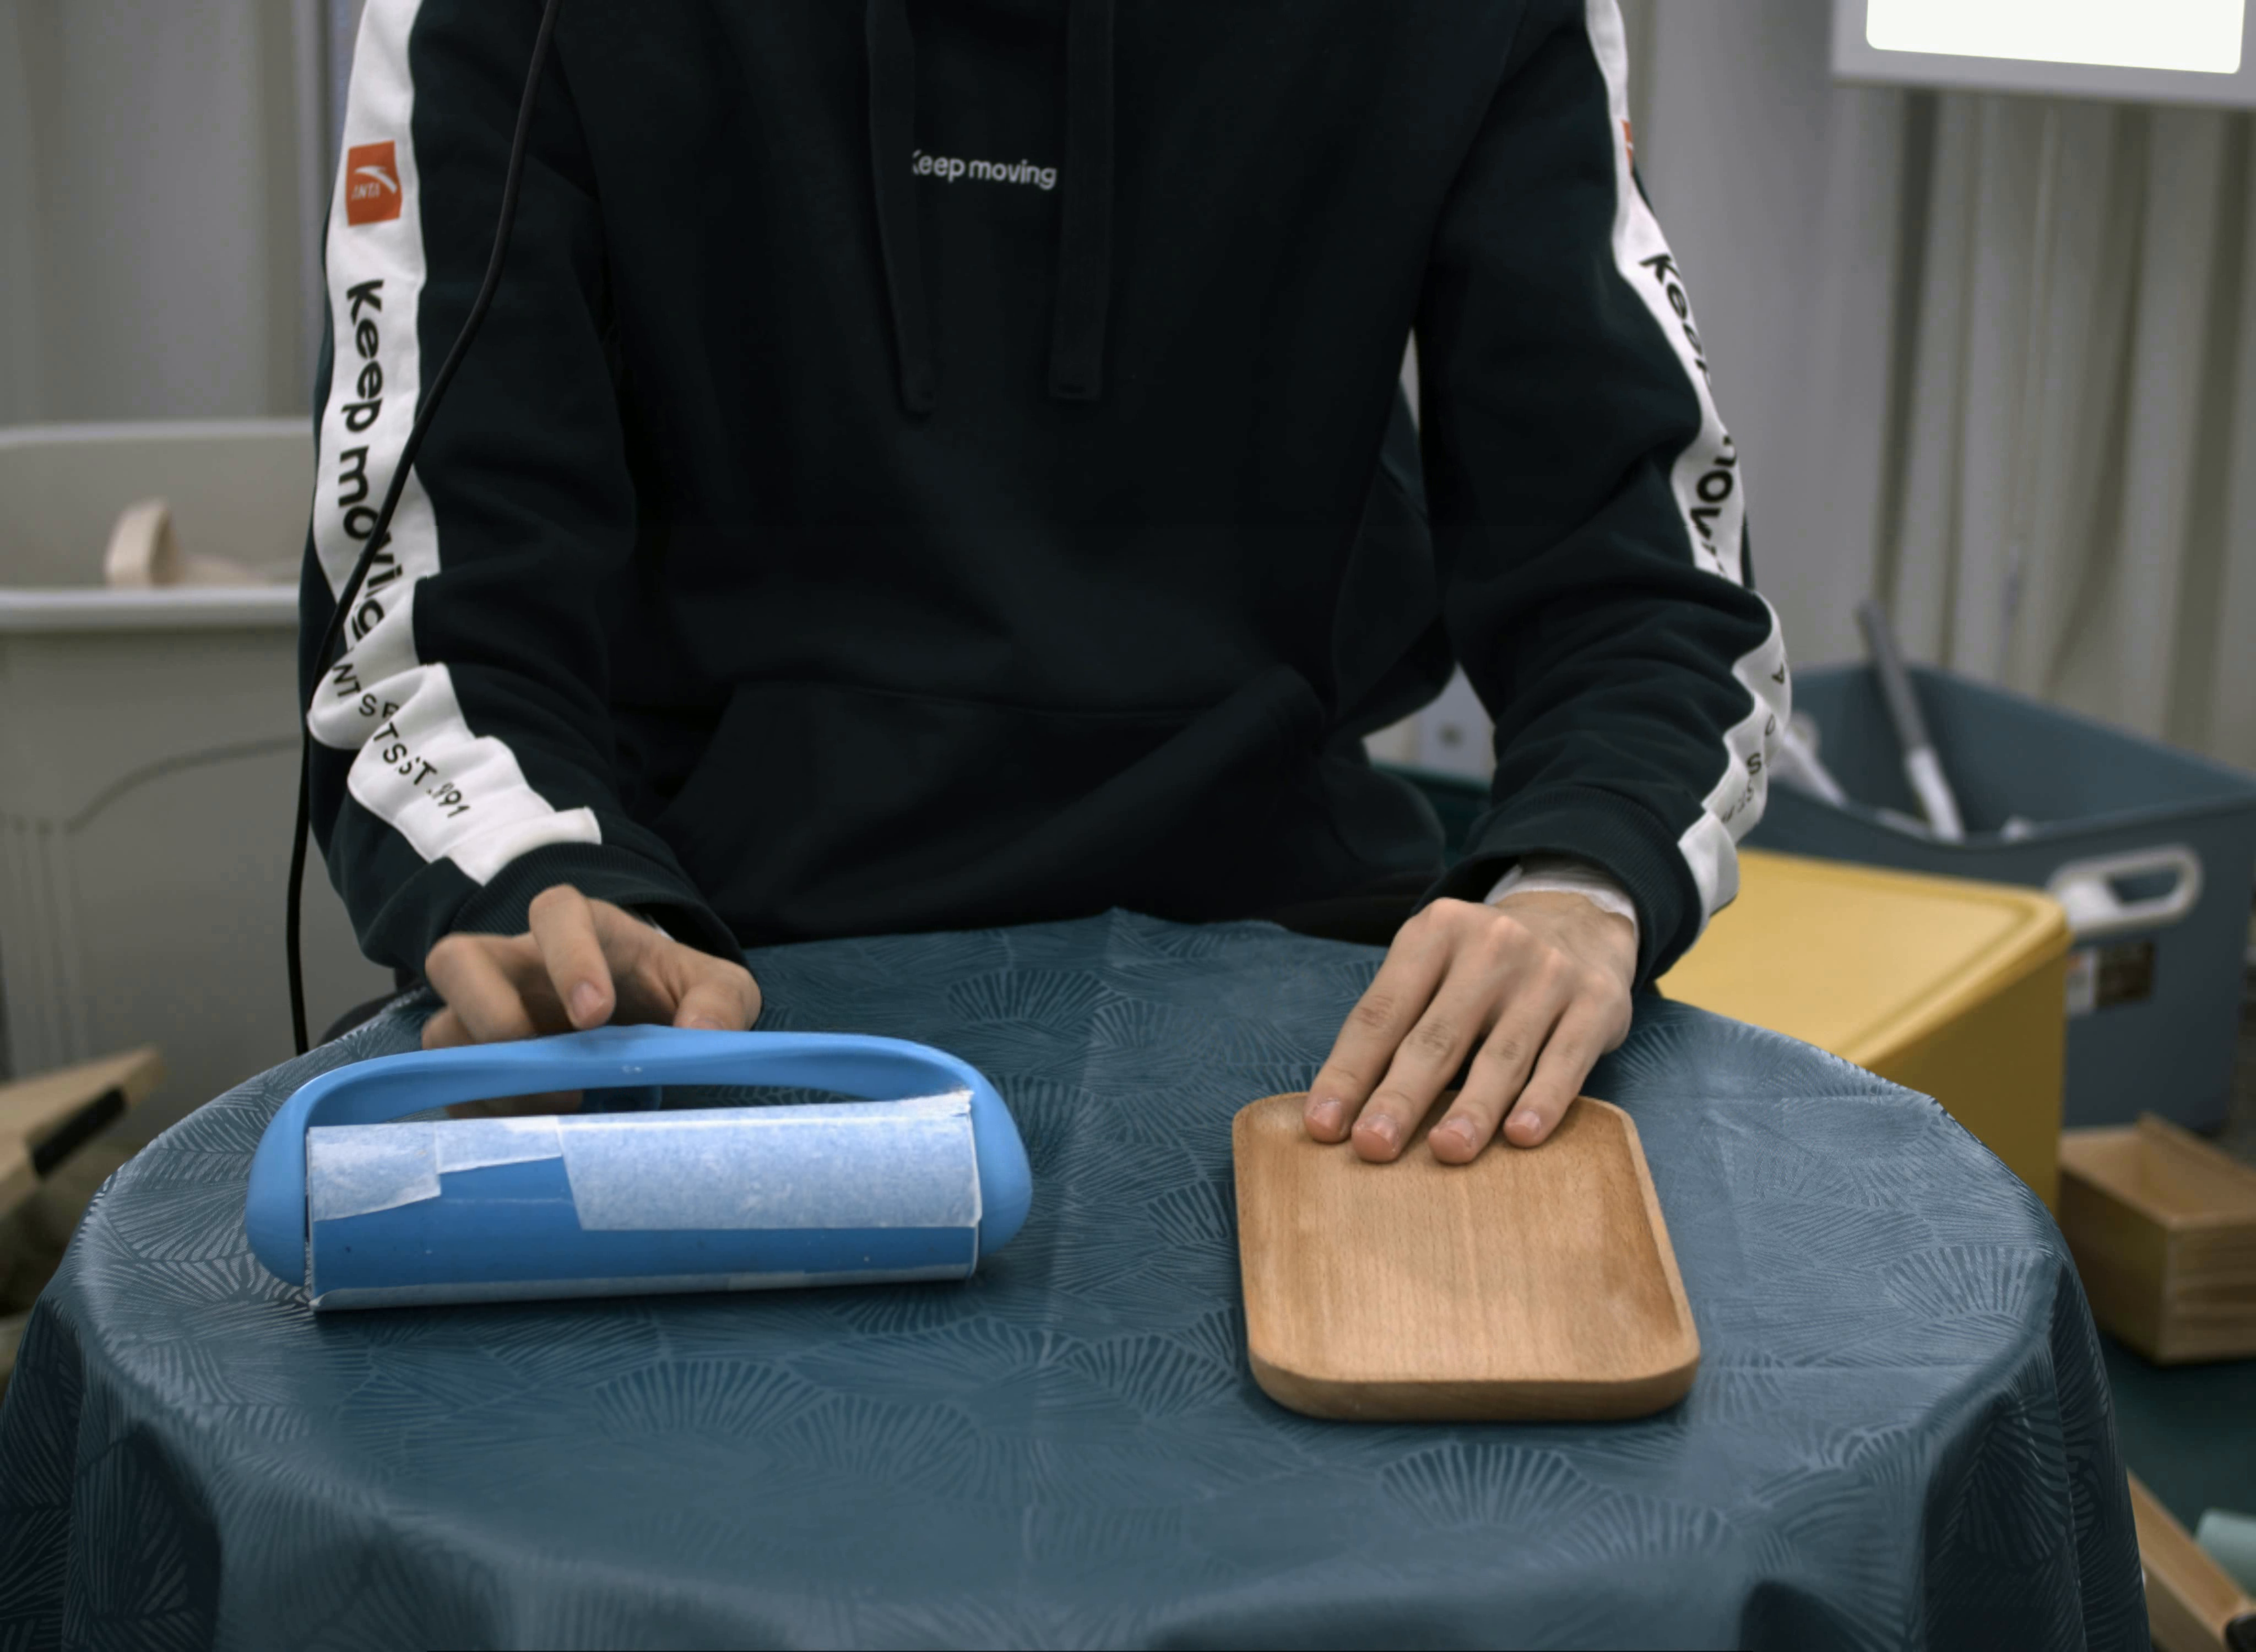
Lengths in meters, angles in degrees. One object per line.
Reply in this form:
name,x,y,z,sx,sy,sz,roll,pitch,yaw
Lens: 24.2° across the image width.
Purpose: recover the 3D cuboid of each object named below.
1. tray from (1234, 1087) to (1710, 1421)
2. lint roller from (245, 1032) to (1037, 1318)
tray,0.097,0.123,1.551,0.130,0.023,0.249,3,15,0
lint roller,-0.151,0.092,1.580,0.229,0.068,0.178,-4,17,-11
